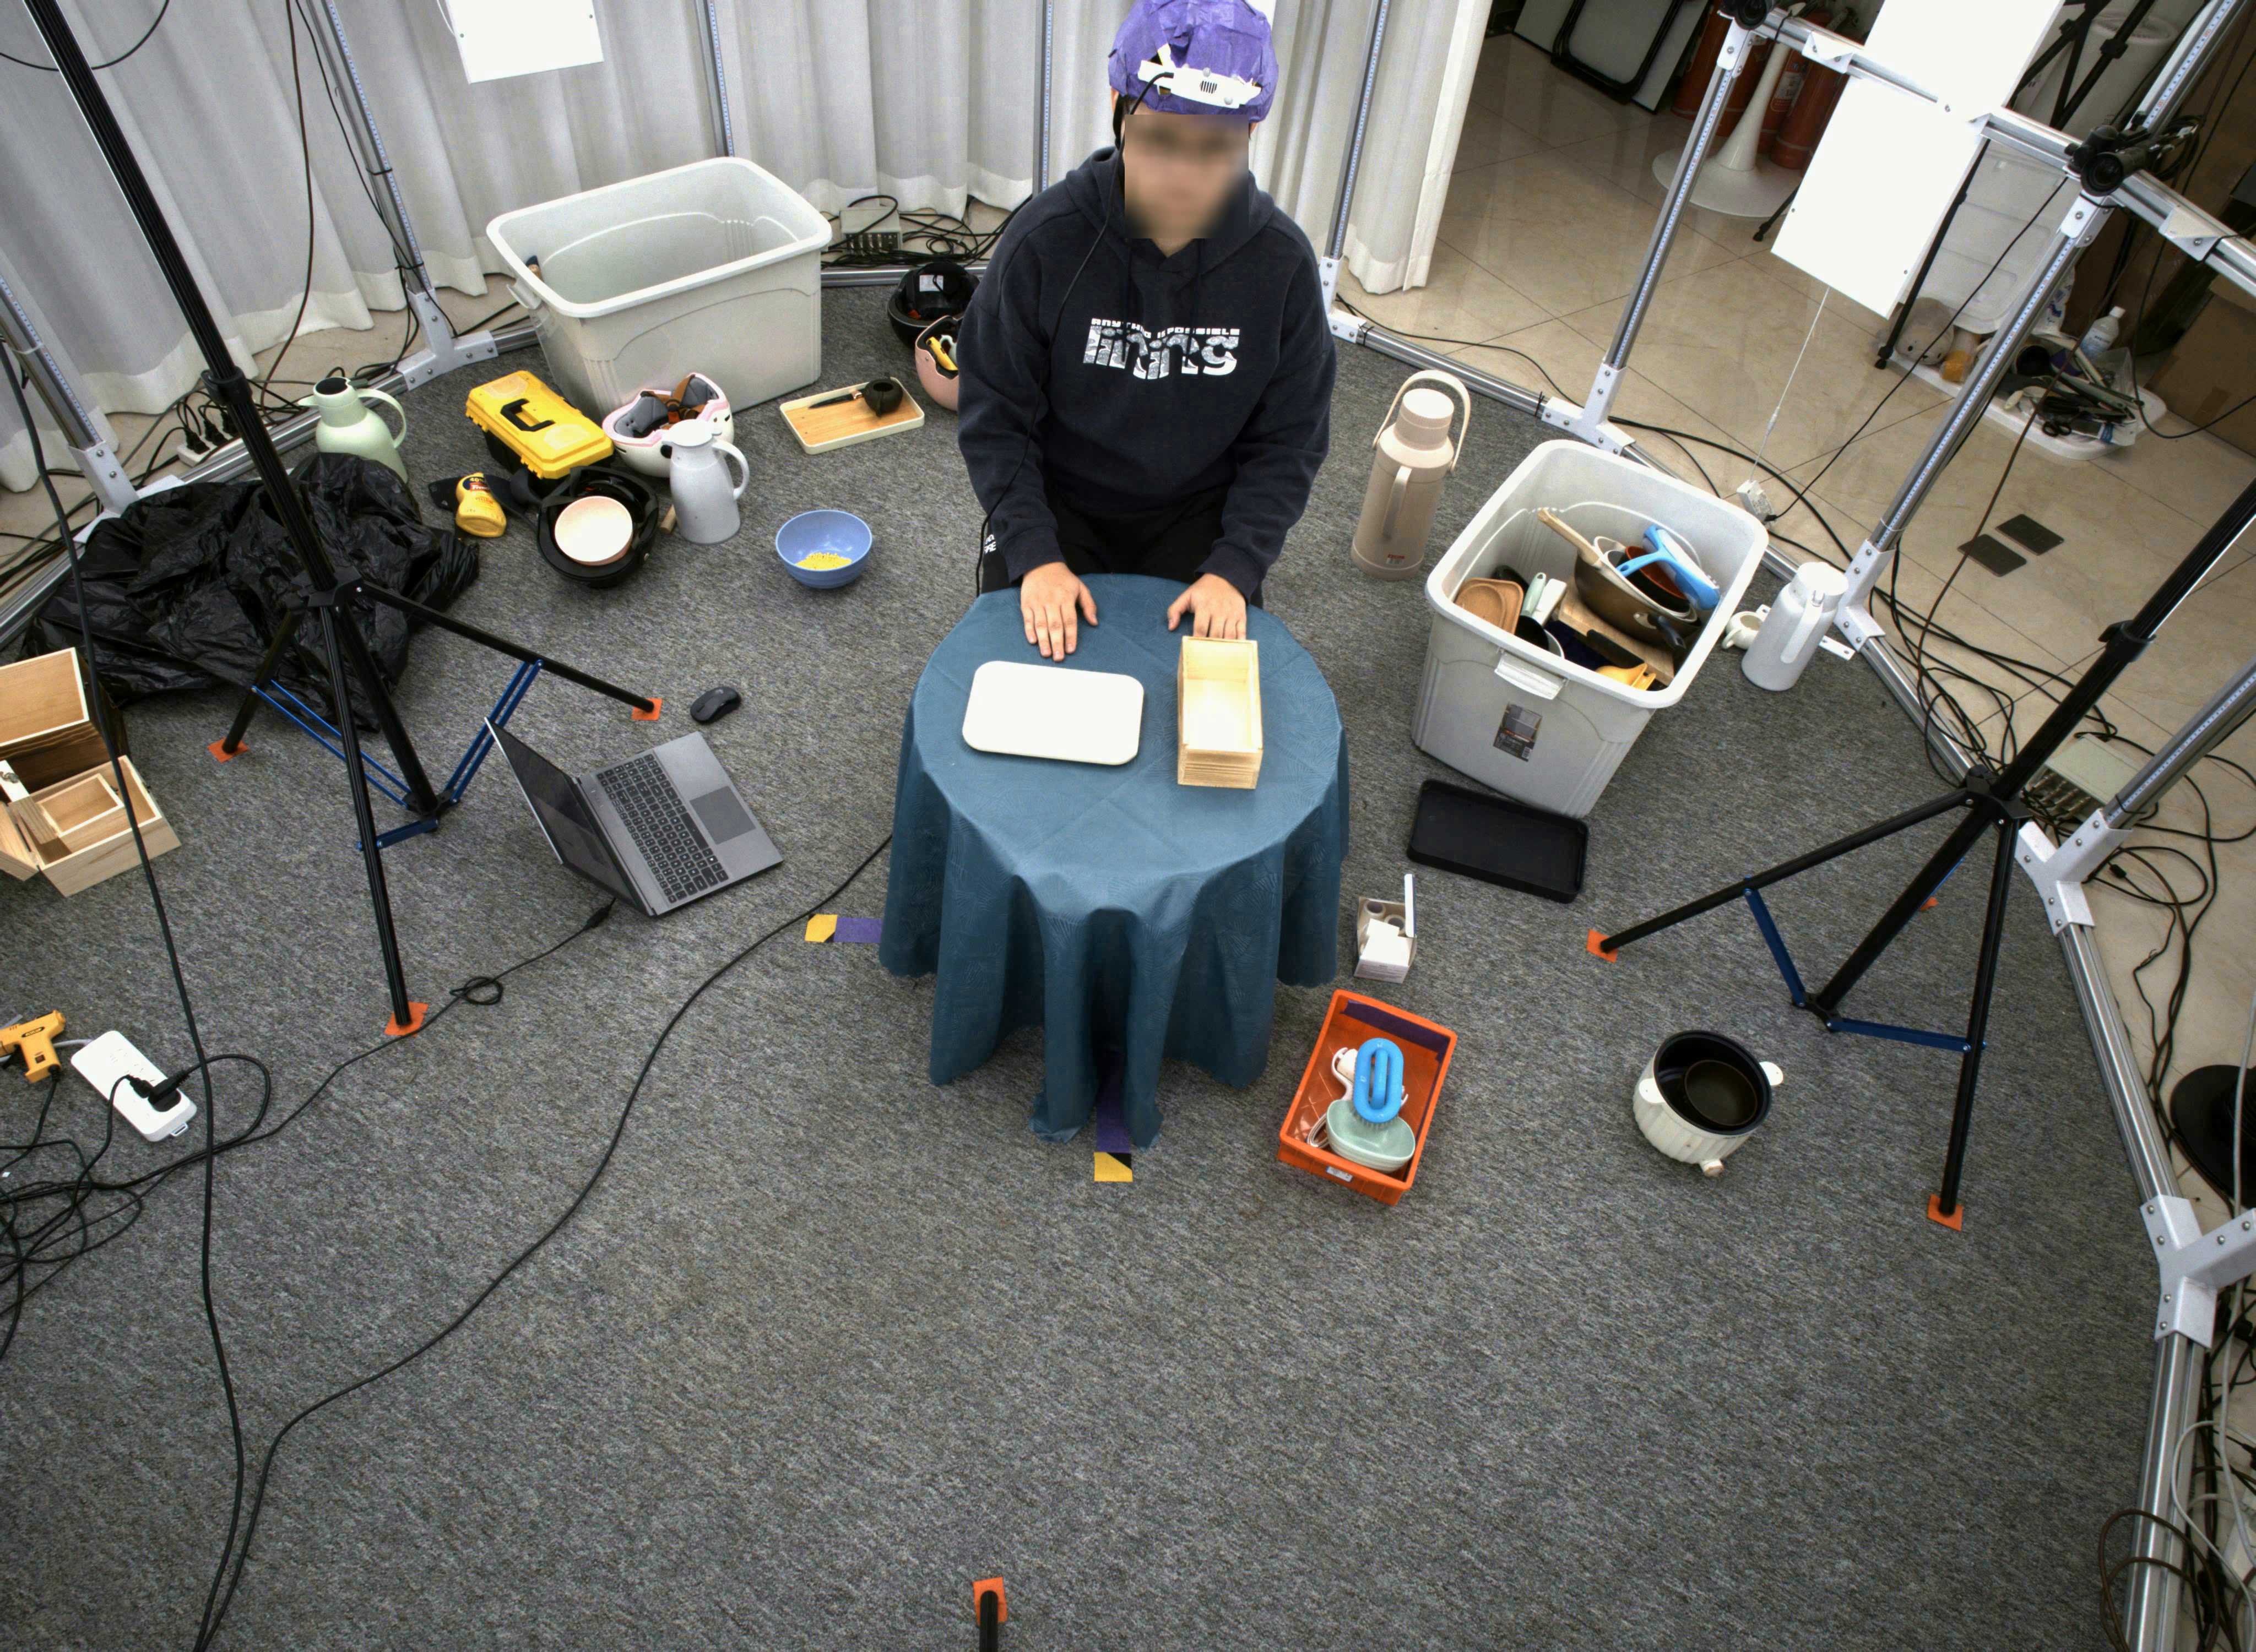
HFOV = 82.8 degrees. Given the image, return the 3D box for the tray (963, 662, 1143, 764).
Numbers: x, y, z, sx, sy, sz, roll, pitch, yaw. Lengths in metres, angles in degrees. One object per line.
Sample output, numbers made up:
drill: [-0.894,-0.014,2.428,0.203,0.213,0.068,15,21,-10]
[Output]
tray: [-0.101,-0.157,1.782,0.239,0.017,0.175,6,48,1]

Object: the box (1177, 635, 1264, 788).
box: [0.125,-0.160,1.762,0.107,0.078,0.217,3,49,-2]
